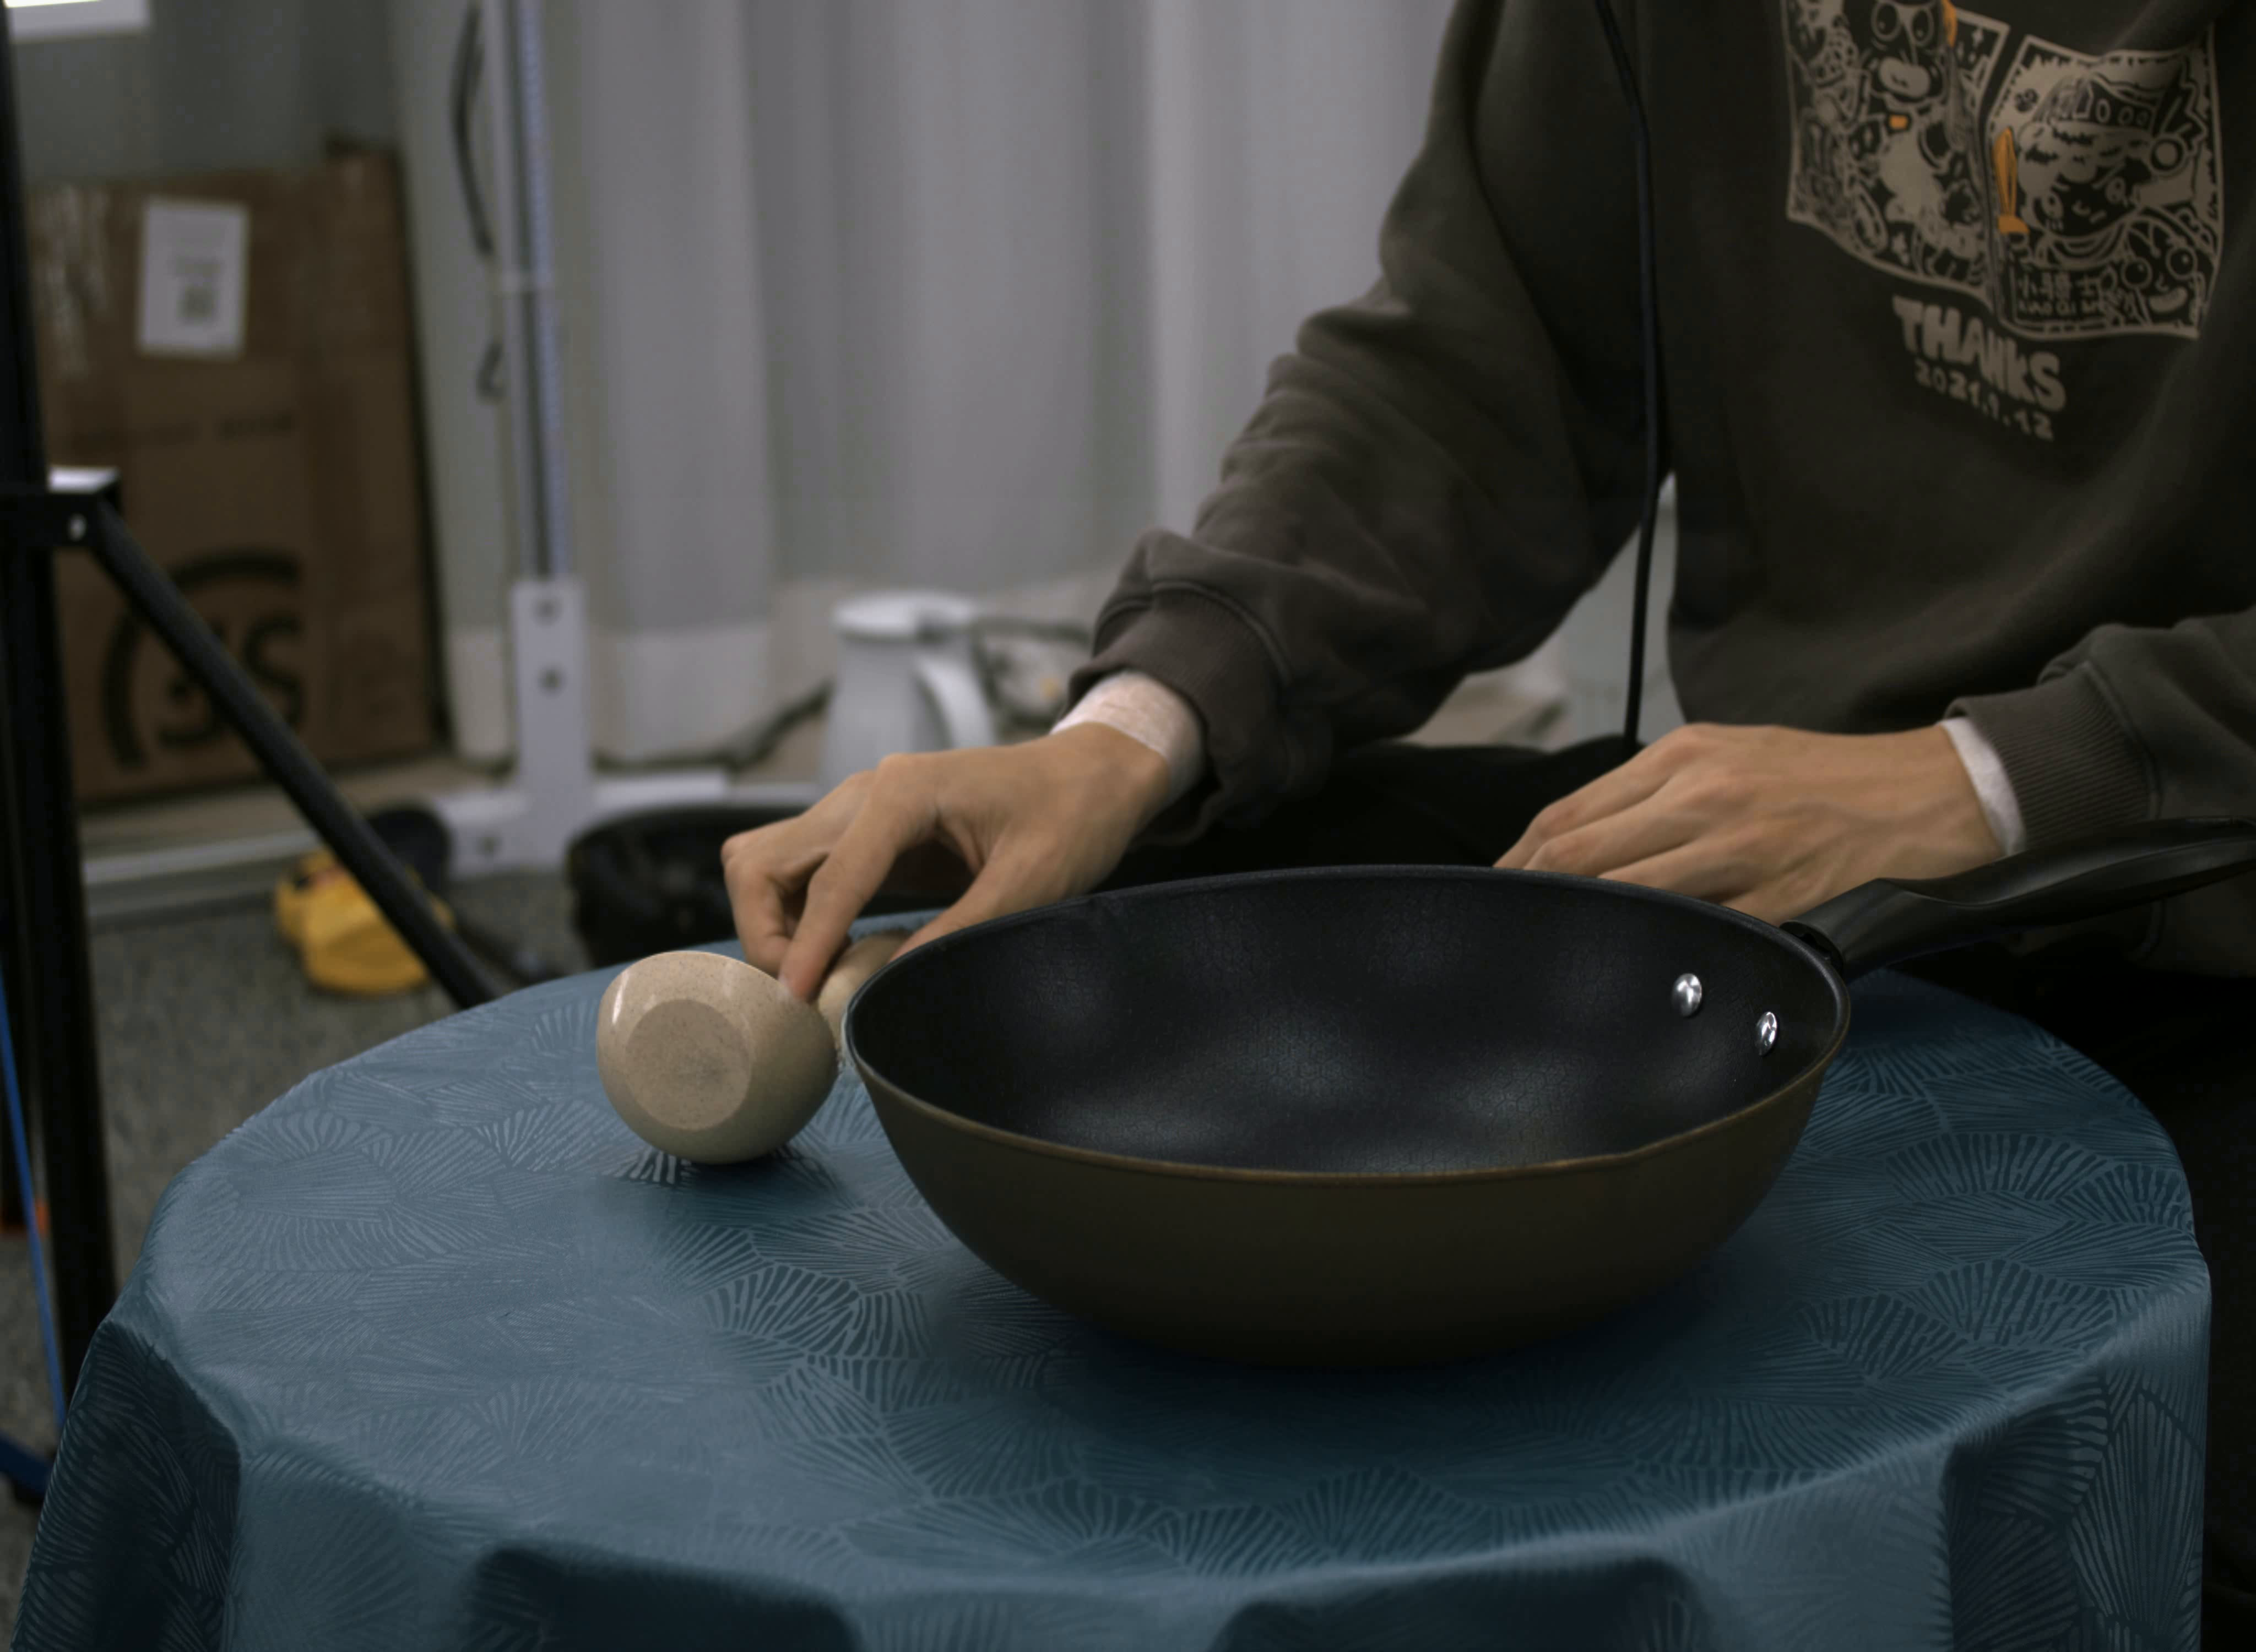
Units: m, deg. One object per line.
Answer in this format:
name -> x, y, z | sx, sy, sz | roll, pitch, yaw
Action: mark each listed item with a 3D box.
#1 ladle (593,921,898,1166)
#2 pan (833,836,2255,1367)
ladle -> -0.108, 0.039, 1.691 | 0.072, 0.073, 0.253 | -1, 17, 11
pan -> 0.139, 0.072, 1.513 | 0.454, 0.087, 0.294 | -9, 17, -25
